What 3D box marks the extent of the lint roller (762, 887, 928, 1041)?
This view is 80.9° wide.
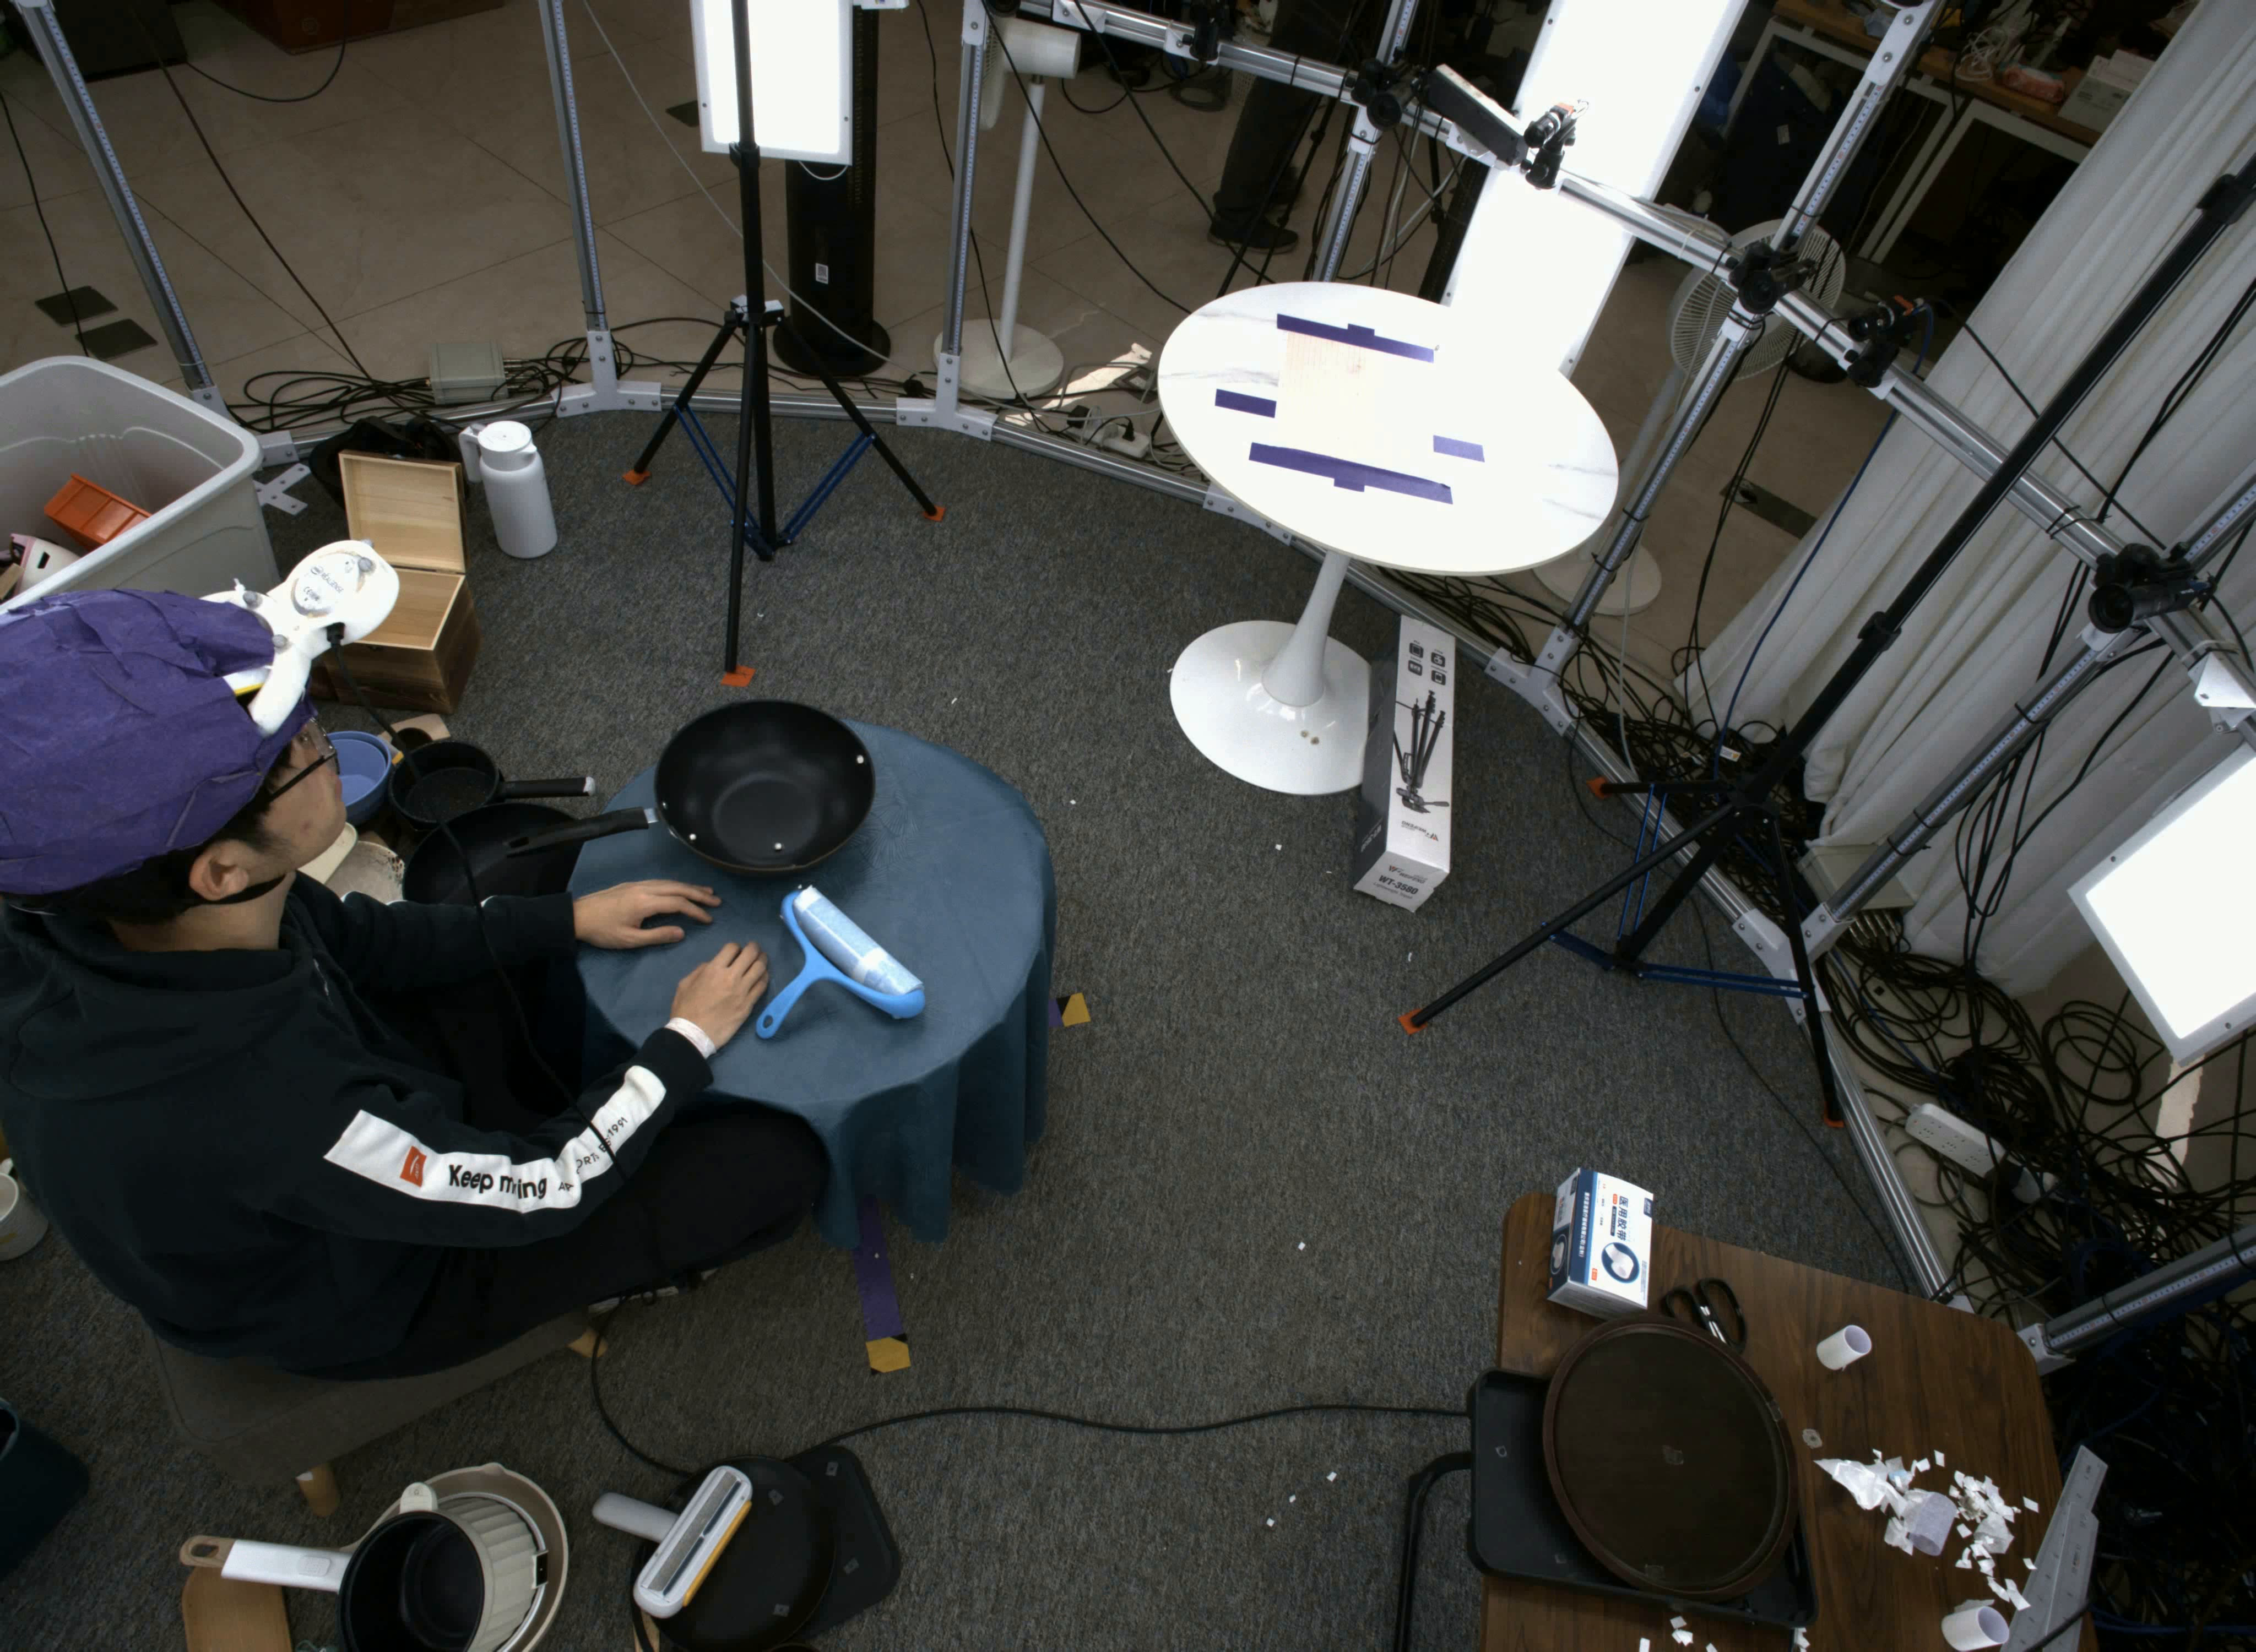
[{"bbox_3d":[-0.371,0.184,1.572,0.225,0.069,0.180,37,53,11],"label":"lint roller"}]

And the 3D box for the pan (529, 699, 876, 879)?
[{"bbox_3d":[-0.550,-0.012,1.653,0.465,0.088,0.281,-17,60,-24],"label":"pan"}]
